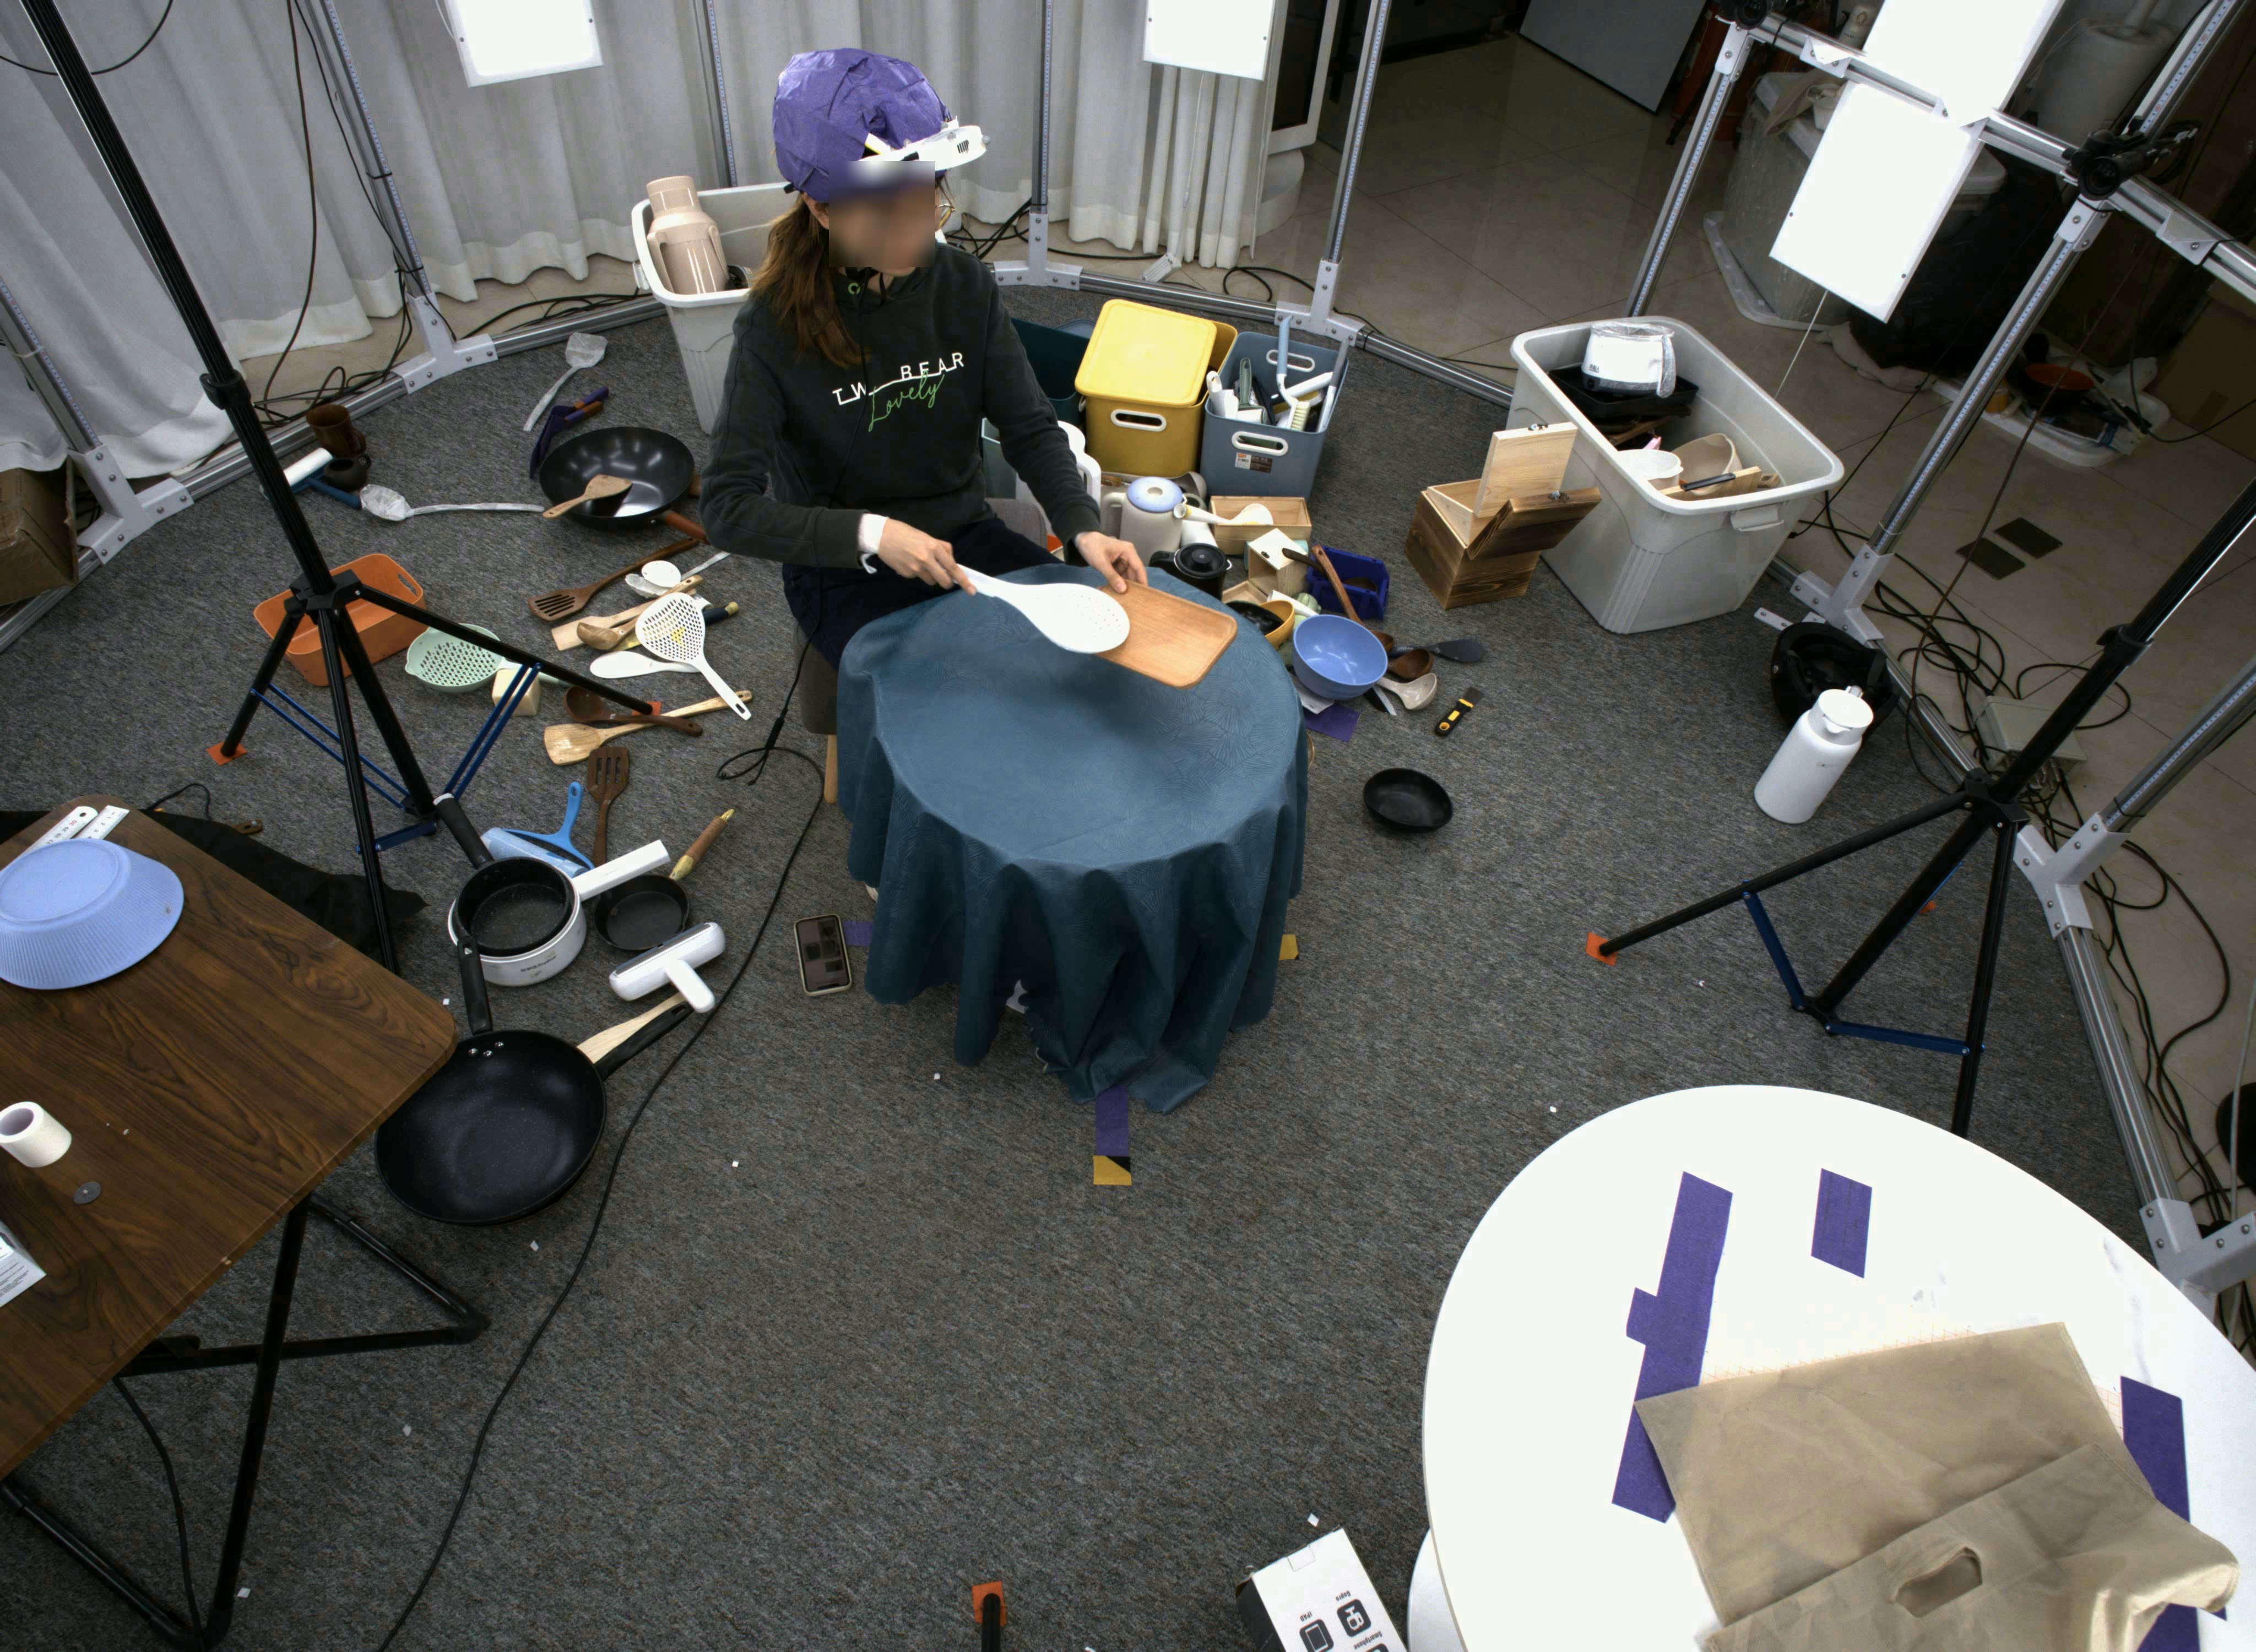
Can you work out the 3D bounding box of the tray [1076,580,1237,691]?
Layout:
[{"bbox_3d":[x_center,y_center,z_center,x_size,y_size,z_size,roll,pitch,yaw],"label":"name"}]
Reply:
[{"bbox_3d":[0.033,-0.264,1.771,0.254,0.022,0.131,27,71,41],"label":"tray"}]

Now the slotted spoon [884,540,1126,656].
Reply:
[{"bbox_3d":[-0.170,-0.320,1.780,0.349,0.045,0.139,25,42,-4],"label":"slotted spoon"}]
